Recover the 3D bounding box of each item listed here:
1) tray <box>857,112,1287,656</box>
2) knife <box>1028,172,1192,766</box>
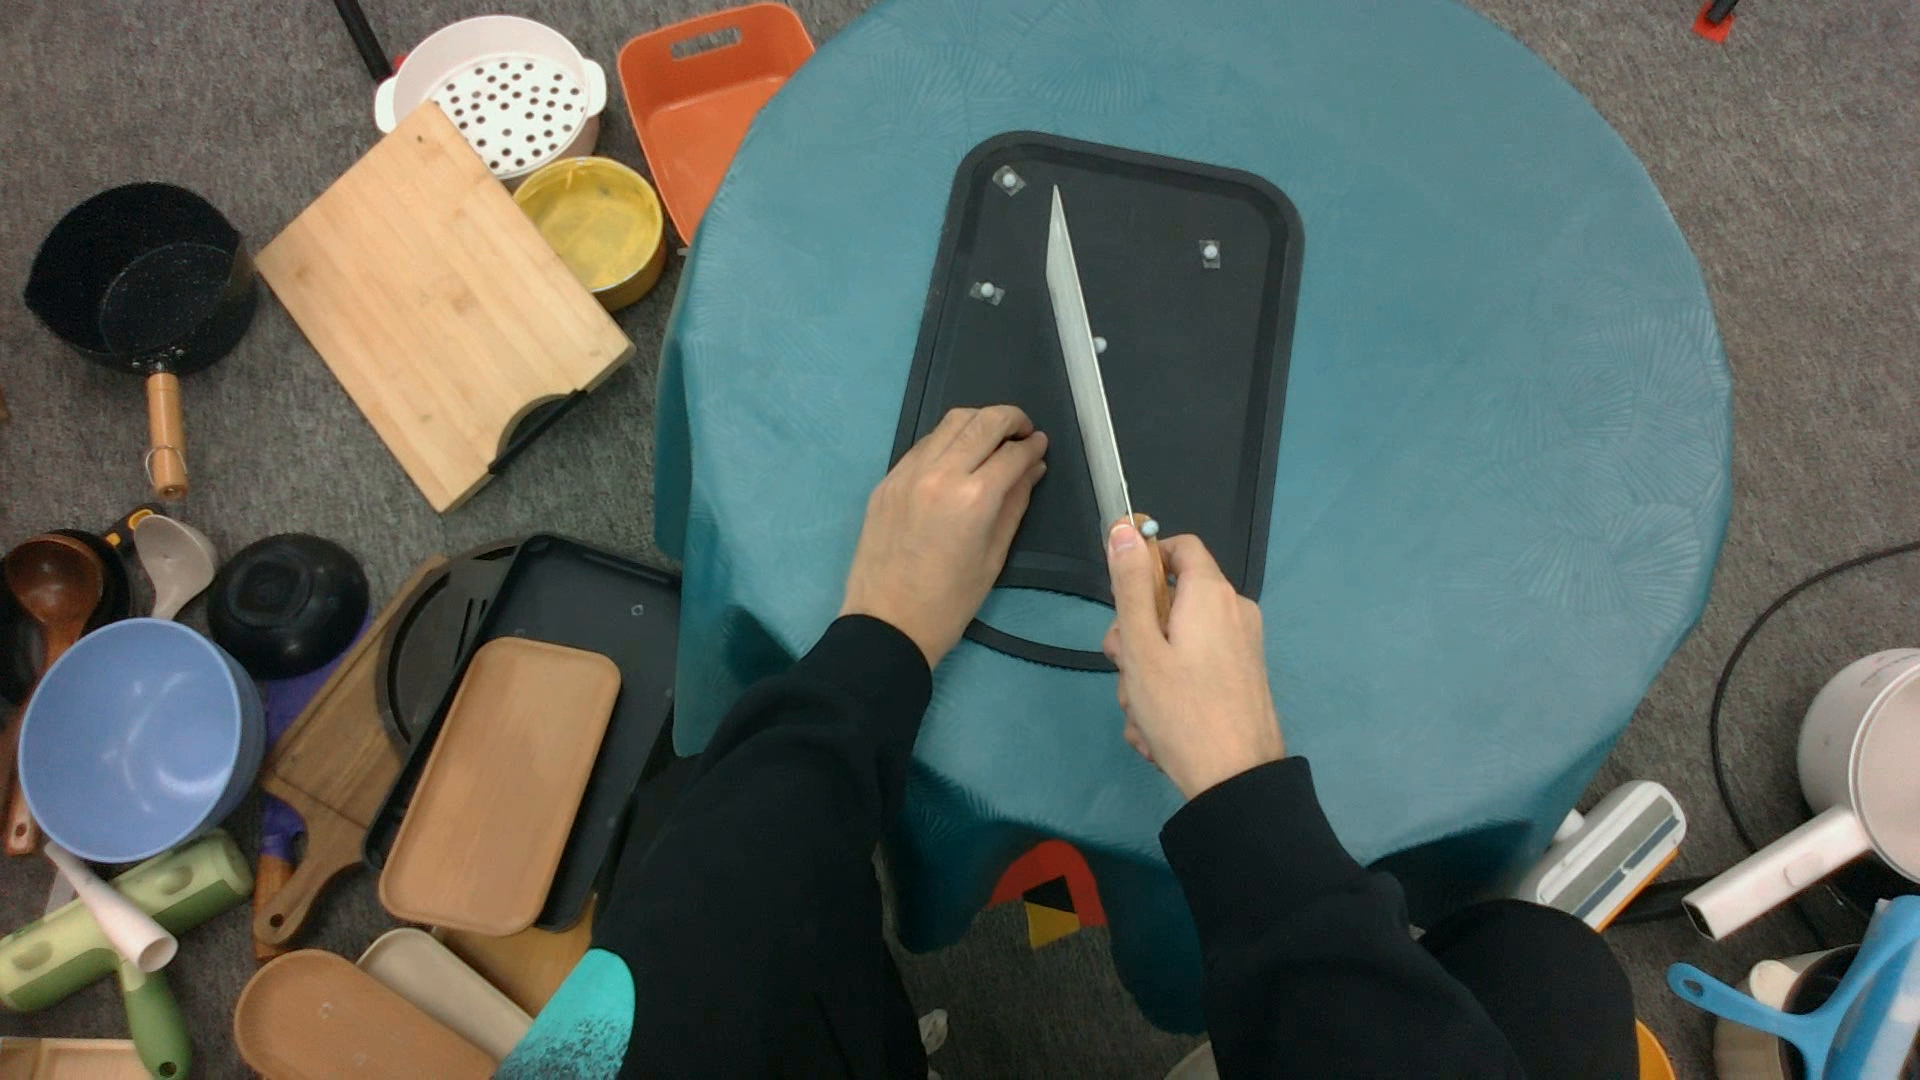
[{"bbox_3d":[0.067,-0.094,0.764,0.211,0.010,0.326,11,70,0],"label":"tray"},{"bbox_3d":[0.066,-0.034,0.681,0.021,0.092,0.306,-10,71,-3],"label":"knife"}]
